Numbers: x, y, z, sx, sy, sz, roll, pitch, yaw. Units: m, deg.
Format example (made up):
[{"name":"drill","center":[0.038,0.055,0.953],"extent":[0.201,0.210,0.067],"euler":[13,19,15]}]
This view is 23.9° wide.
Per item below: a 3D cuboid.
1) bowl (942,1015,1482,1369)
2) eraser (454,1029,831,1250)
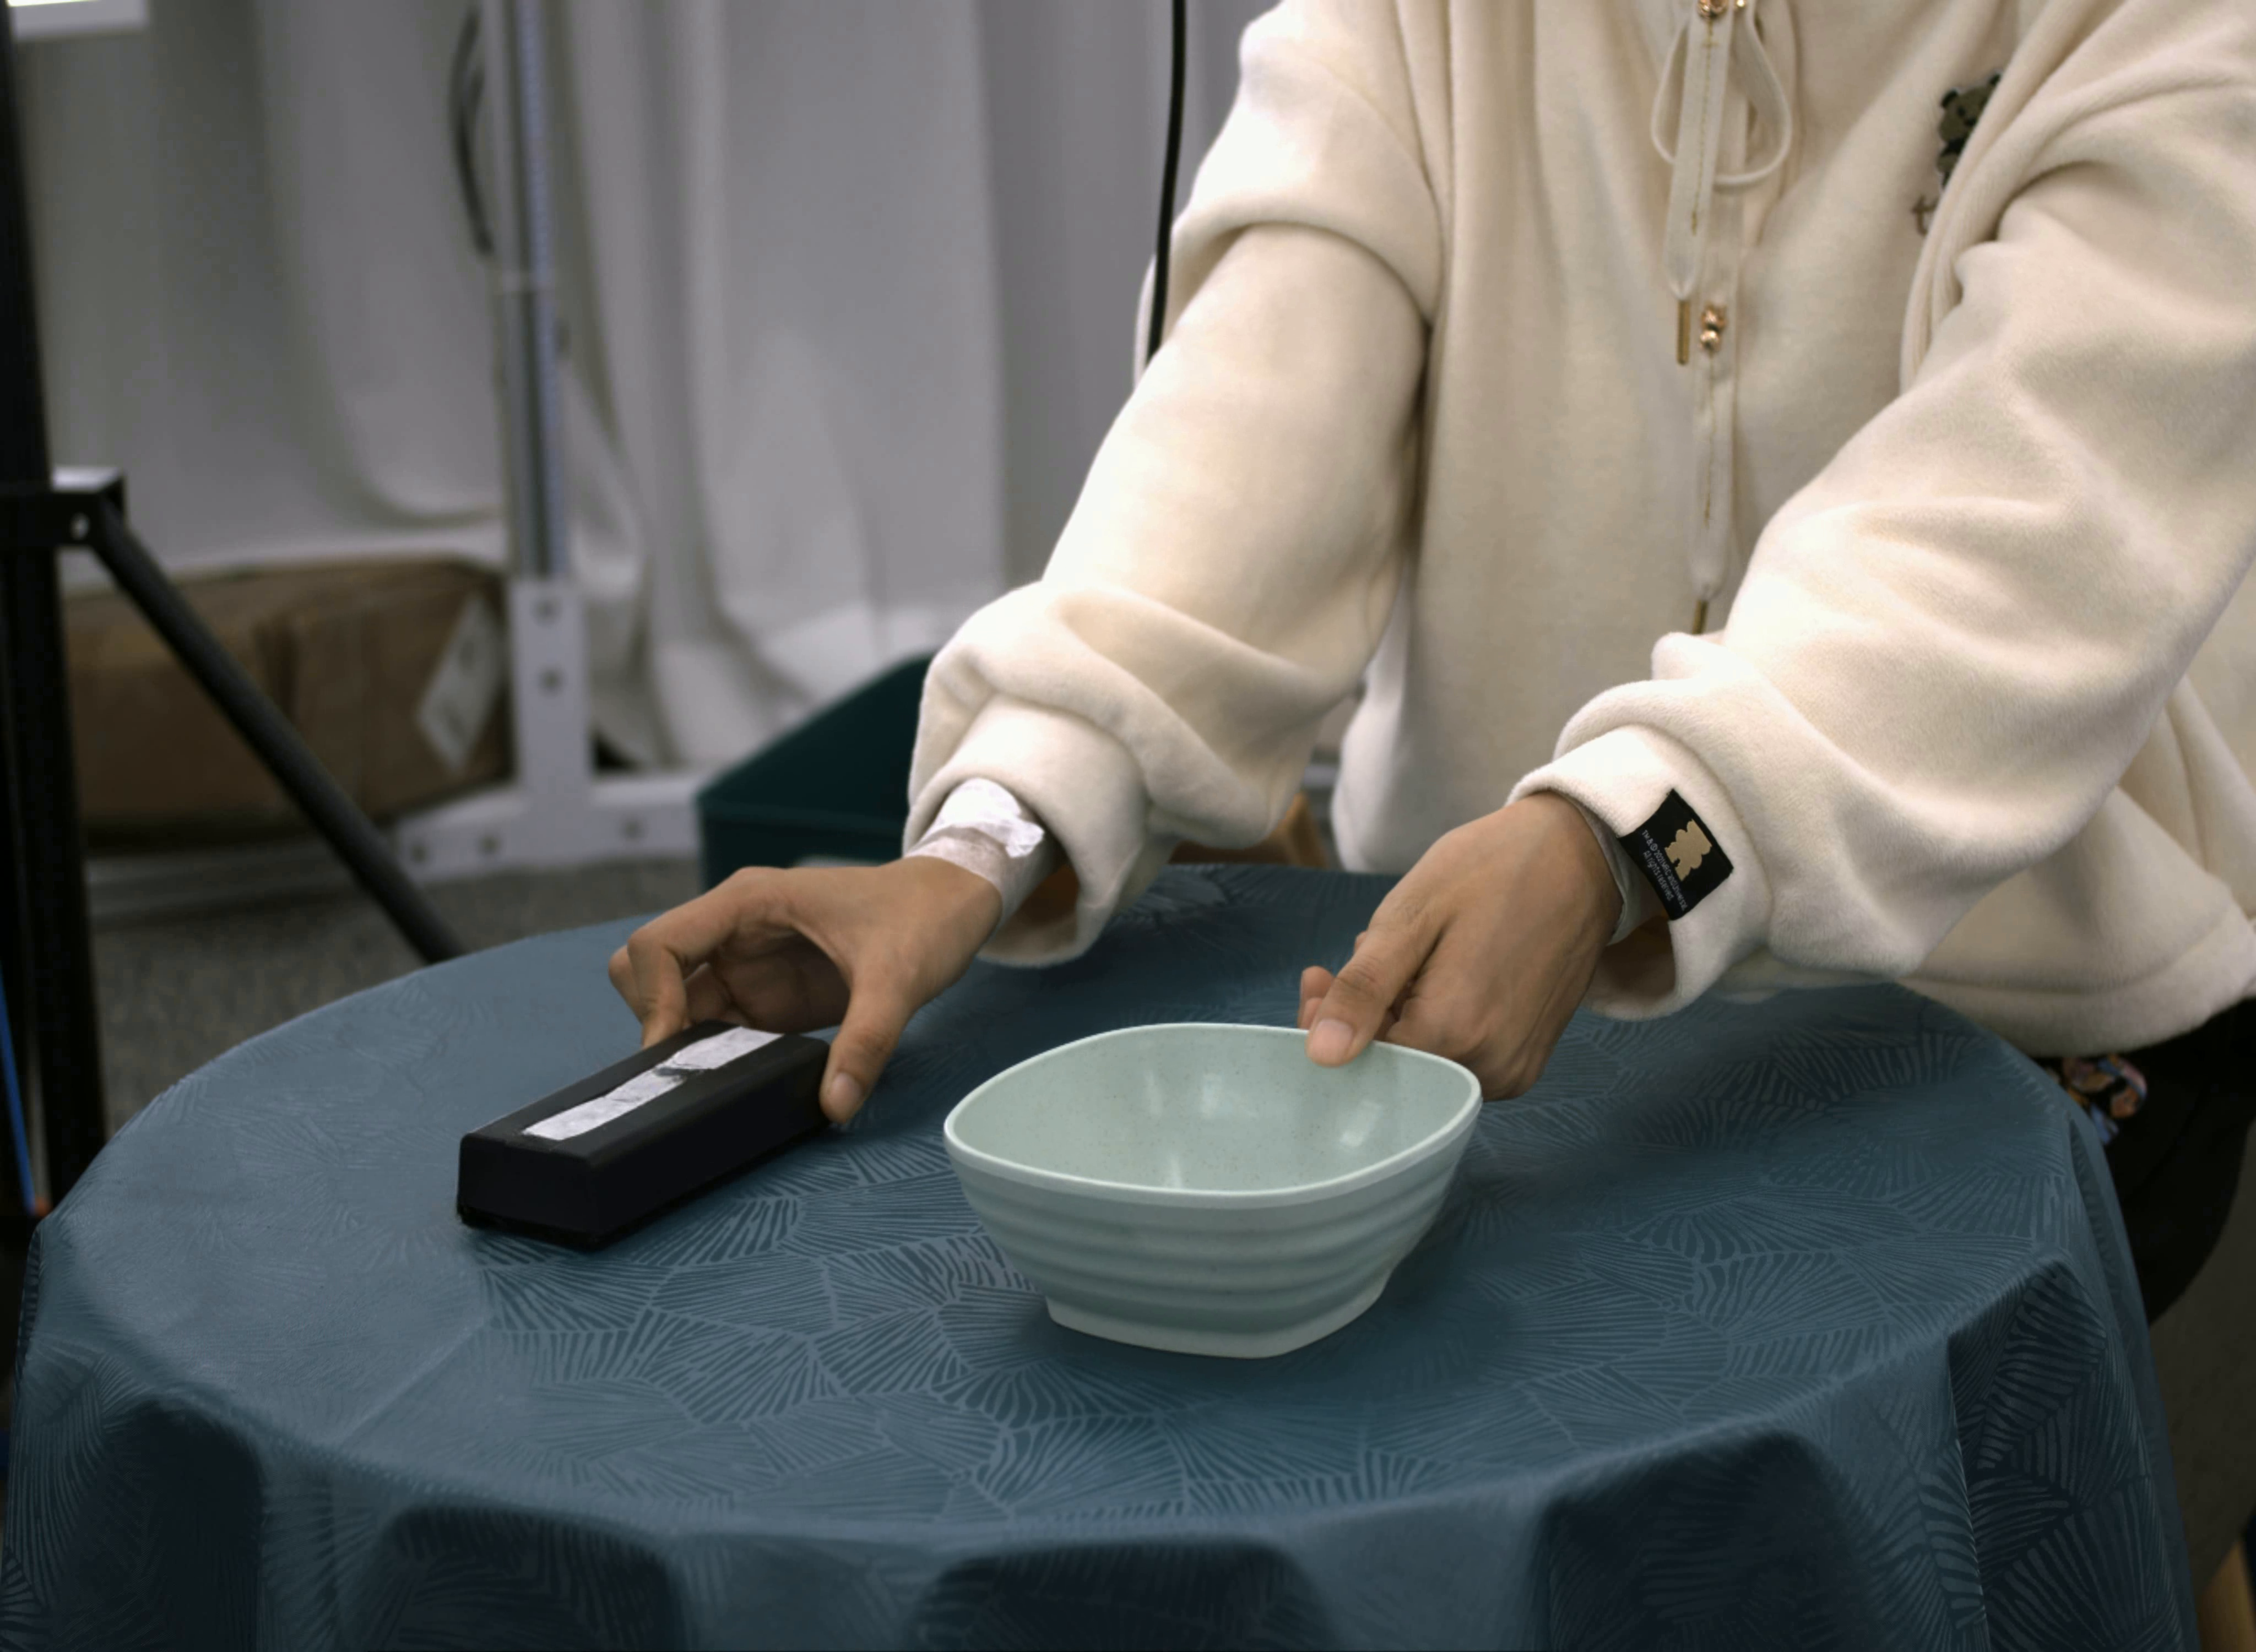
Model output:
[{"name":"bowl","center":[0.024,0.104,1.463],"extent":[0.150,0.058,0.152],"euler":[0,17,-1]},{"name":"eraser","center":[-0.143,0.092,1.587],"extent":[0.054,0.030,0.123],"euler":[9,17,29]}]
